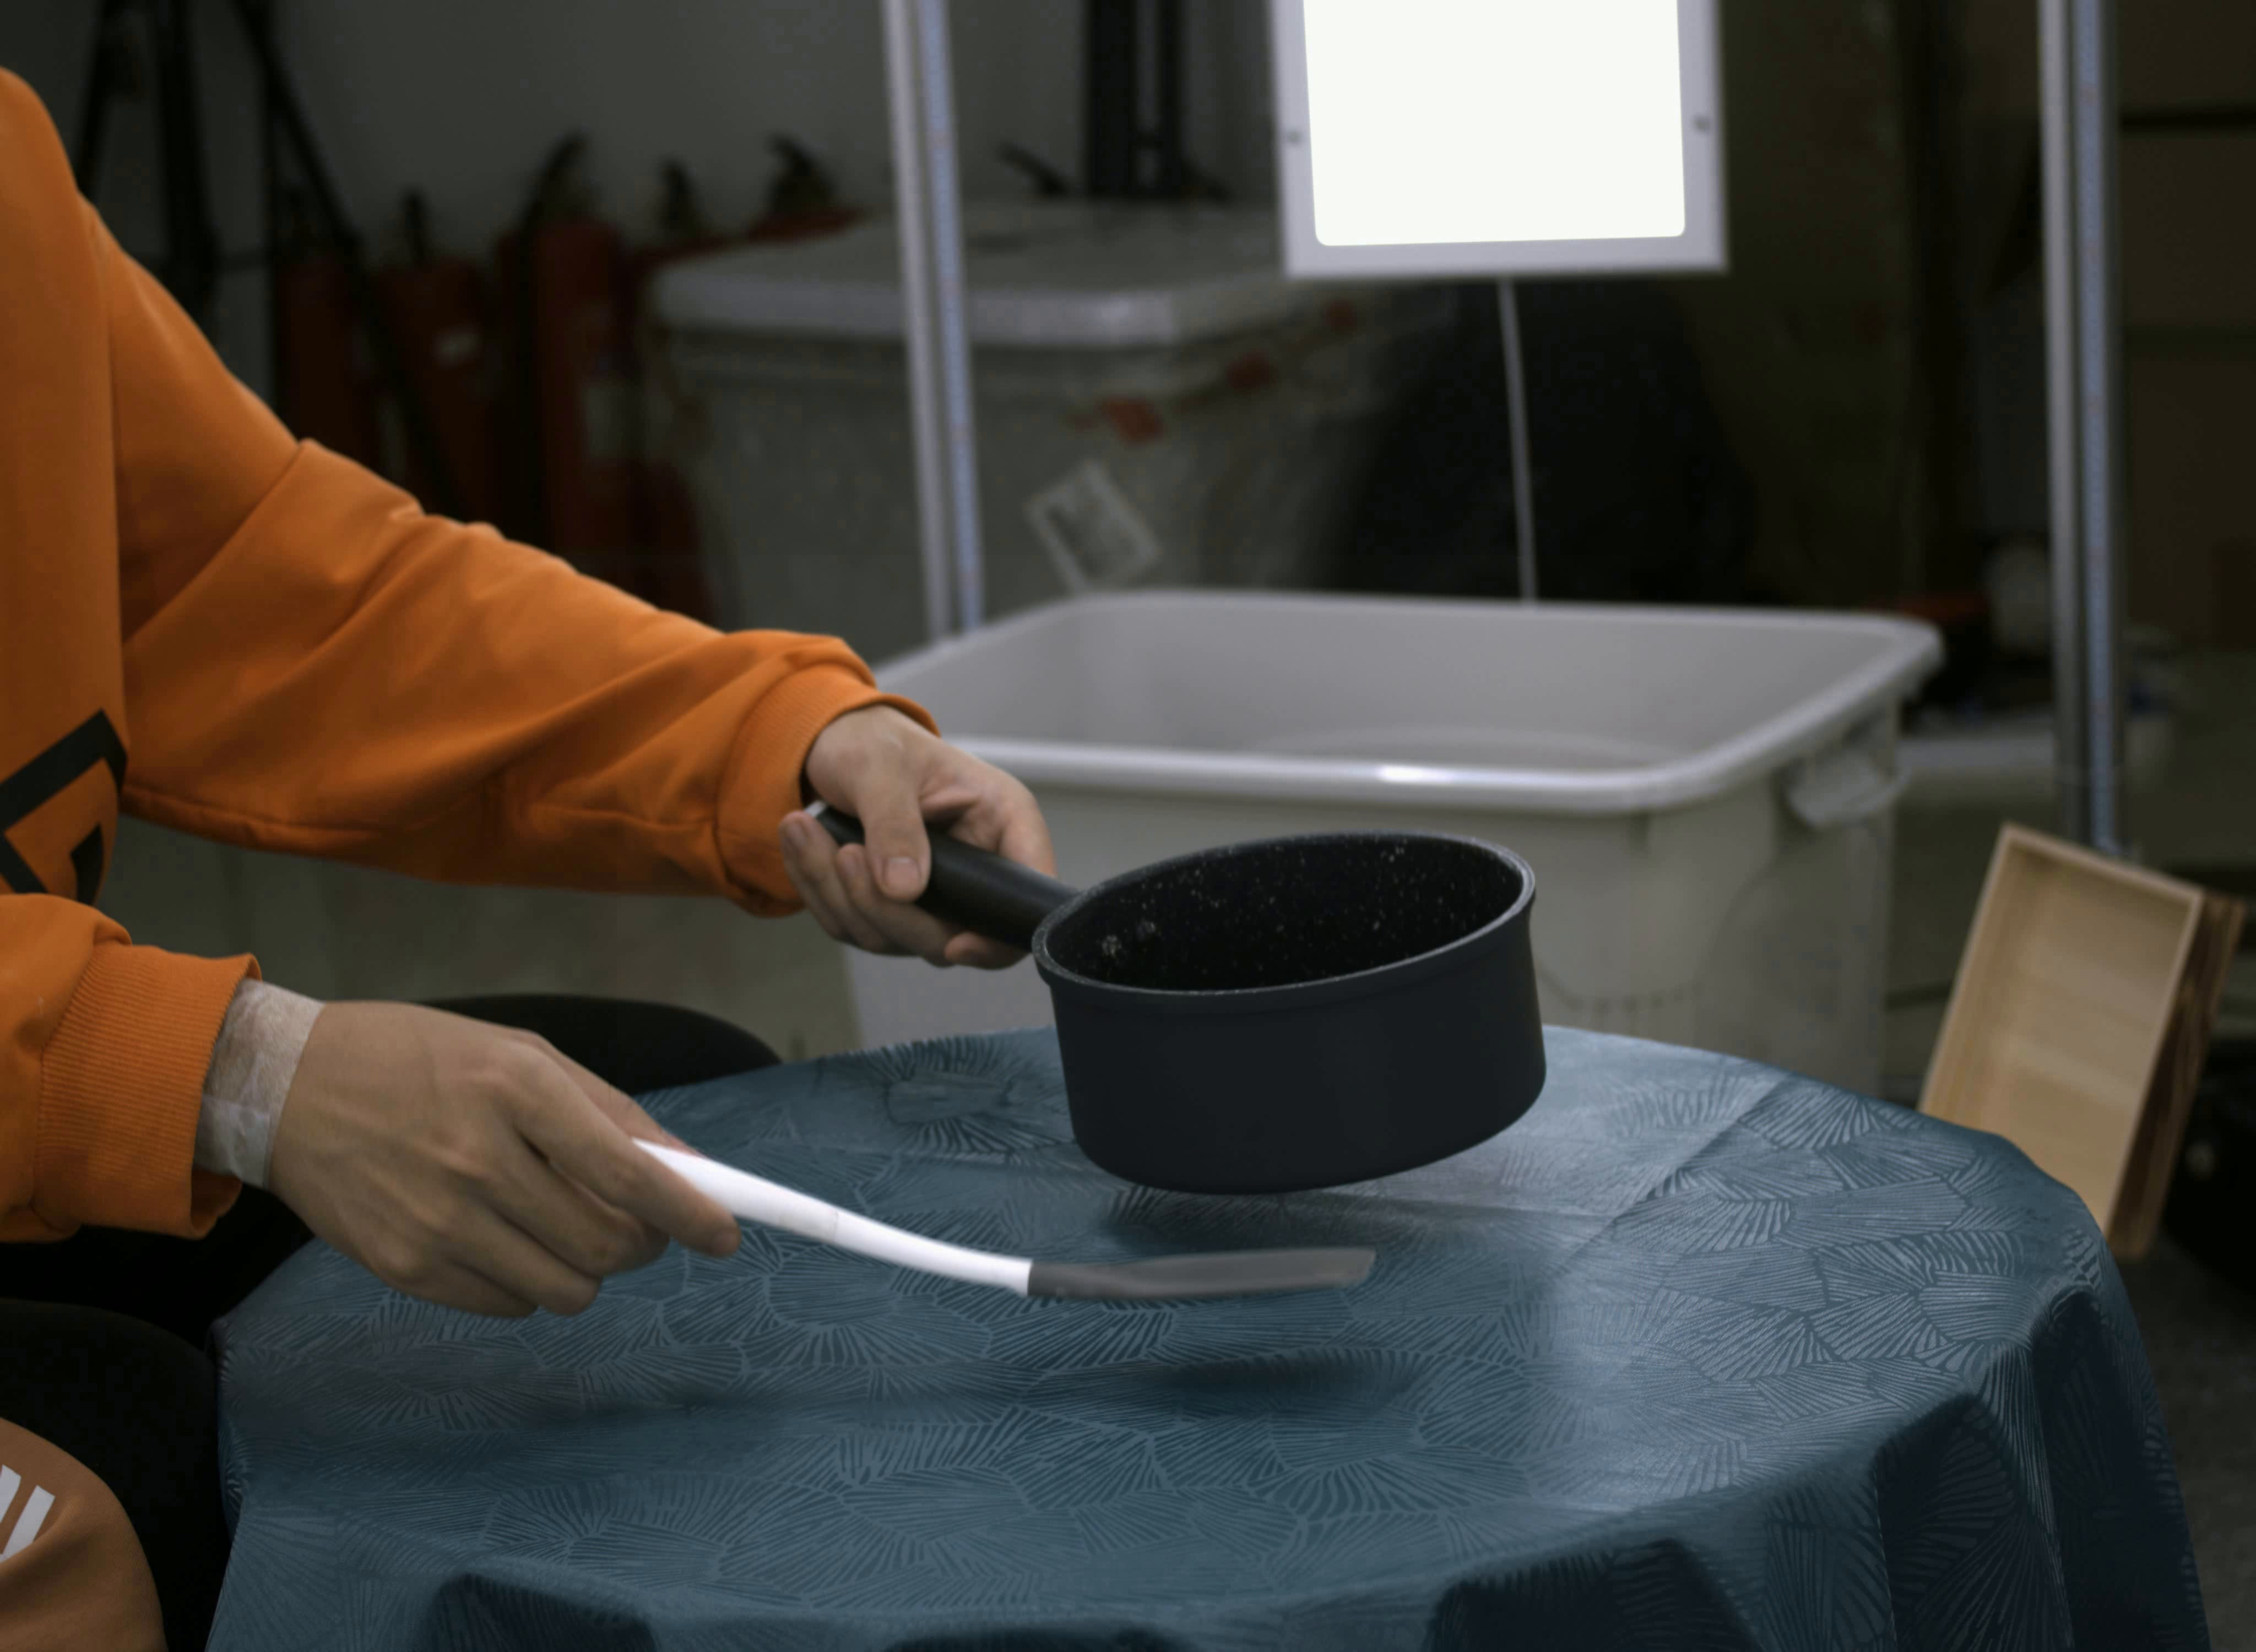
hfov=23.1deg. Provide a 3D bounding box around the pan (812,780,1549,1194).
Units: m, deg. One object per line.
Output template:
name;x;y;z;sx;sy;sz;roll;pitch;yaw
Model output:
pan;0.004;0.048;1.922;0.168;0.087;0.336;-21;21;-37

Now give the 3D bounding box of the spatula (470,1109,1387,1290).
spatula;-0.063;0.122;1.716;0.289;0.032;0.058;7;4;9
